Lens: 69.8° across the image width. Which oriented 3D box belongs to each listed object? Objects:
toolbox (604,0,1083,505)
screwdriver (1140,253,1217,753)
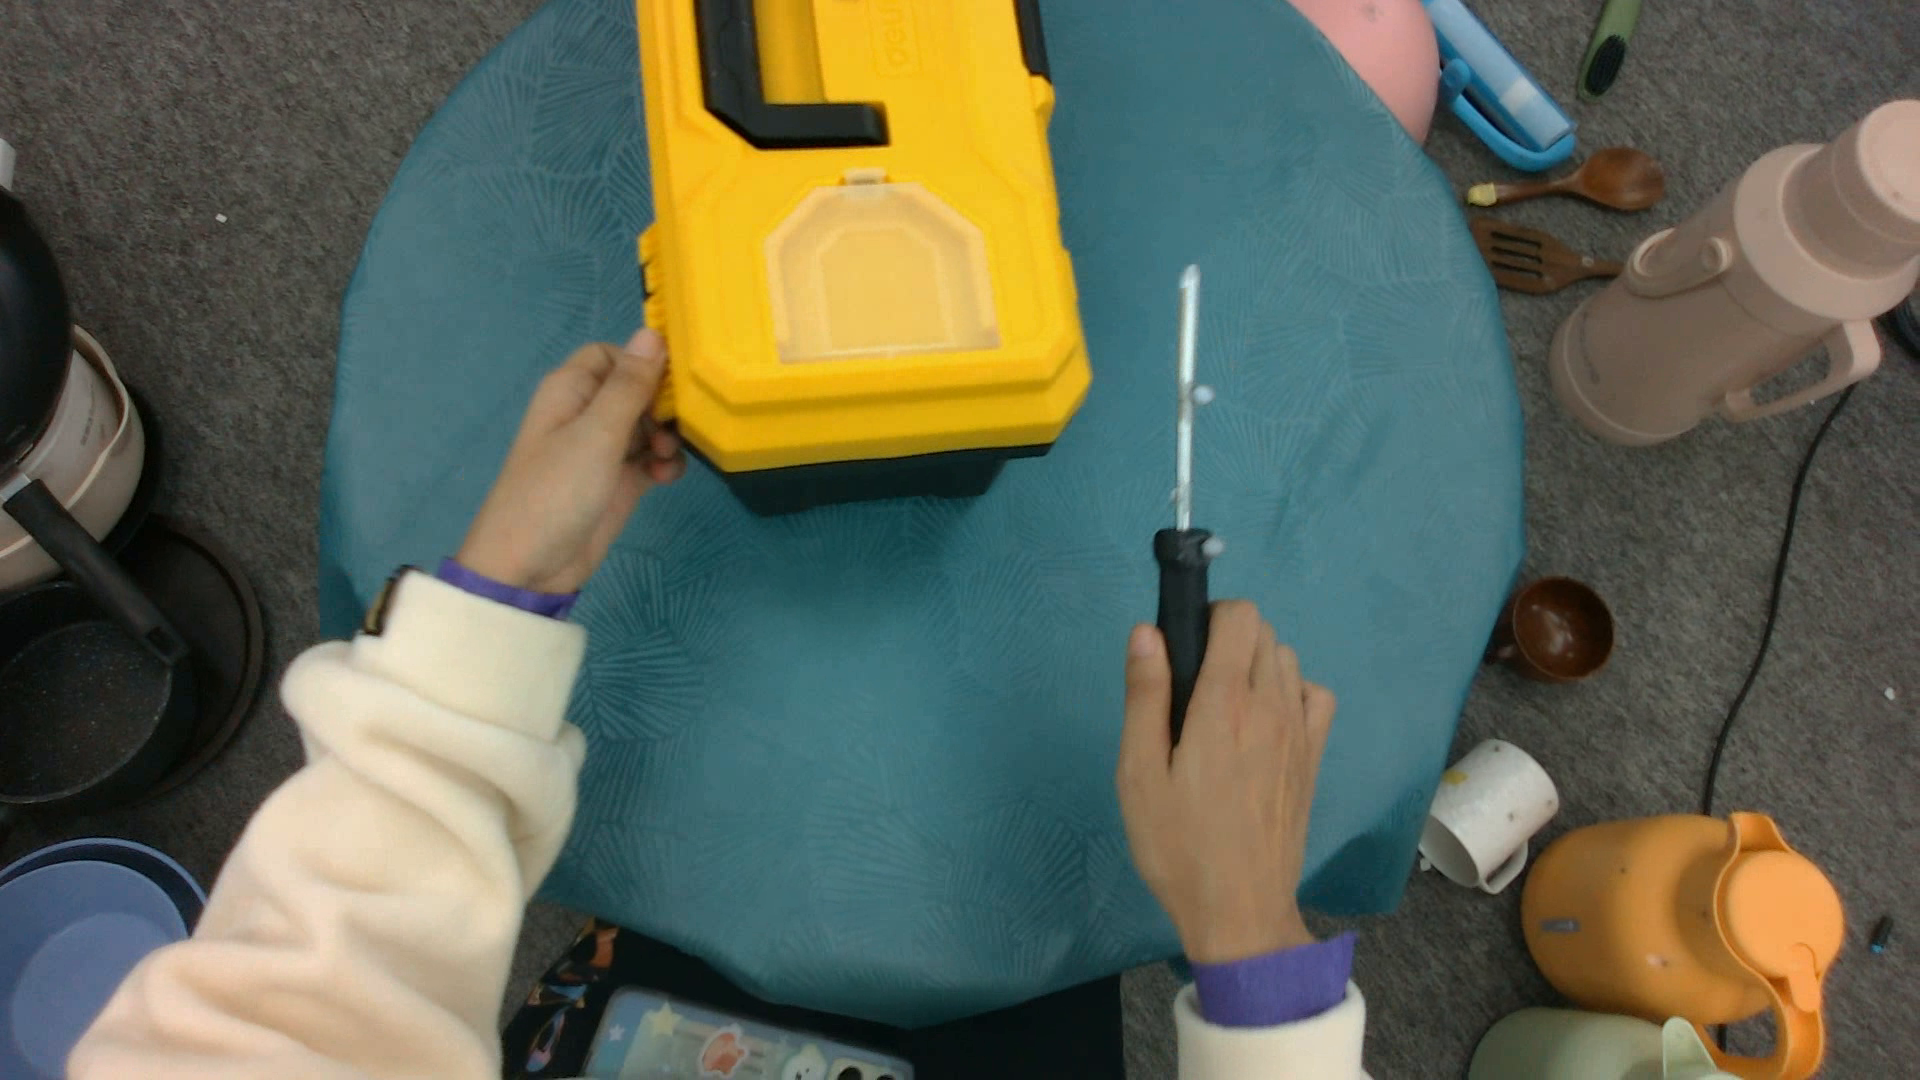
[{"bbox_3d":[-0.064,-0.196,0.630,0.181,0.172,0.352,-6,74,-9],"label":"toolbox"},{"bbox_3d":[0.086,-0.012,0.537,0.031,0.031,0.196,-1,99,-8],"label":"screwdriver"}]
